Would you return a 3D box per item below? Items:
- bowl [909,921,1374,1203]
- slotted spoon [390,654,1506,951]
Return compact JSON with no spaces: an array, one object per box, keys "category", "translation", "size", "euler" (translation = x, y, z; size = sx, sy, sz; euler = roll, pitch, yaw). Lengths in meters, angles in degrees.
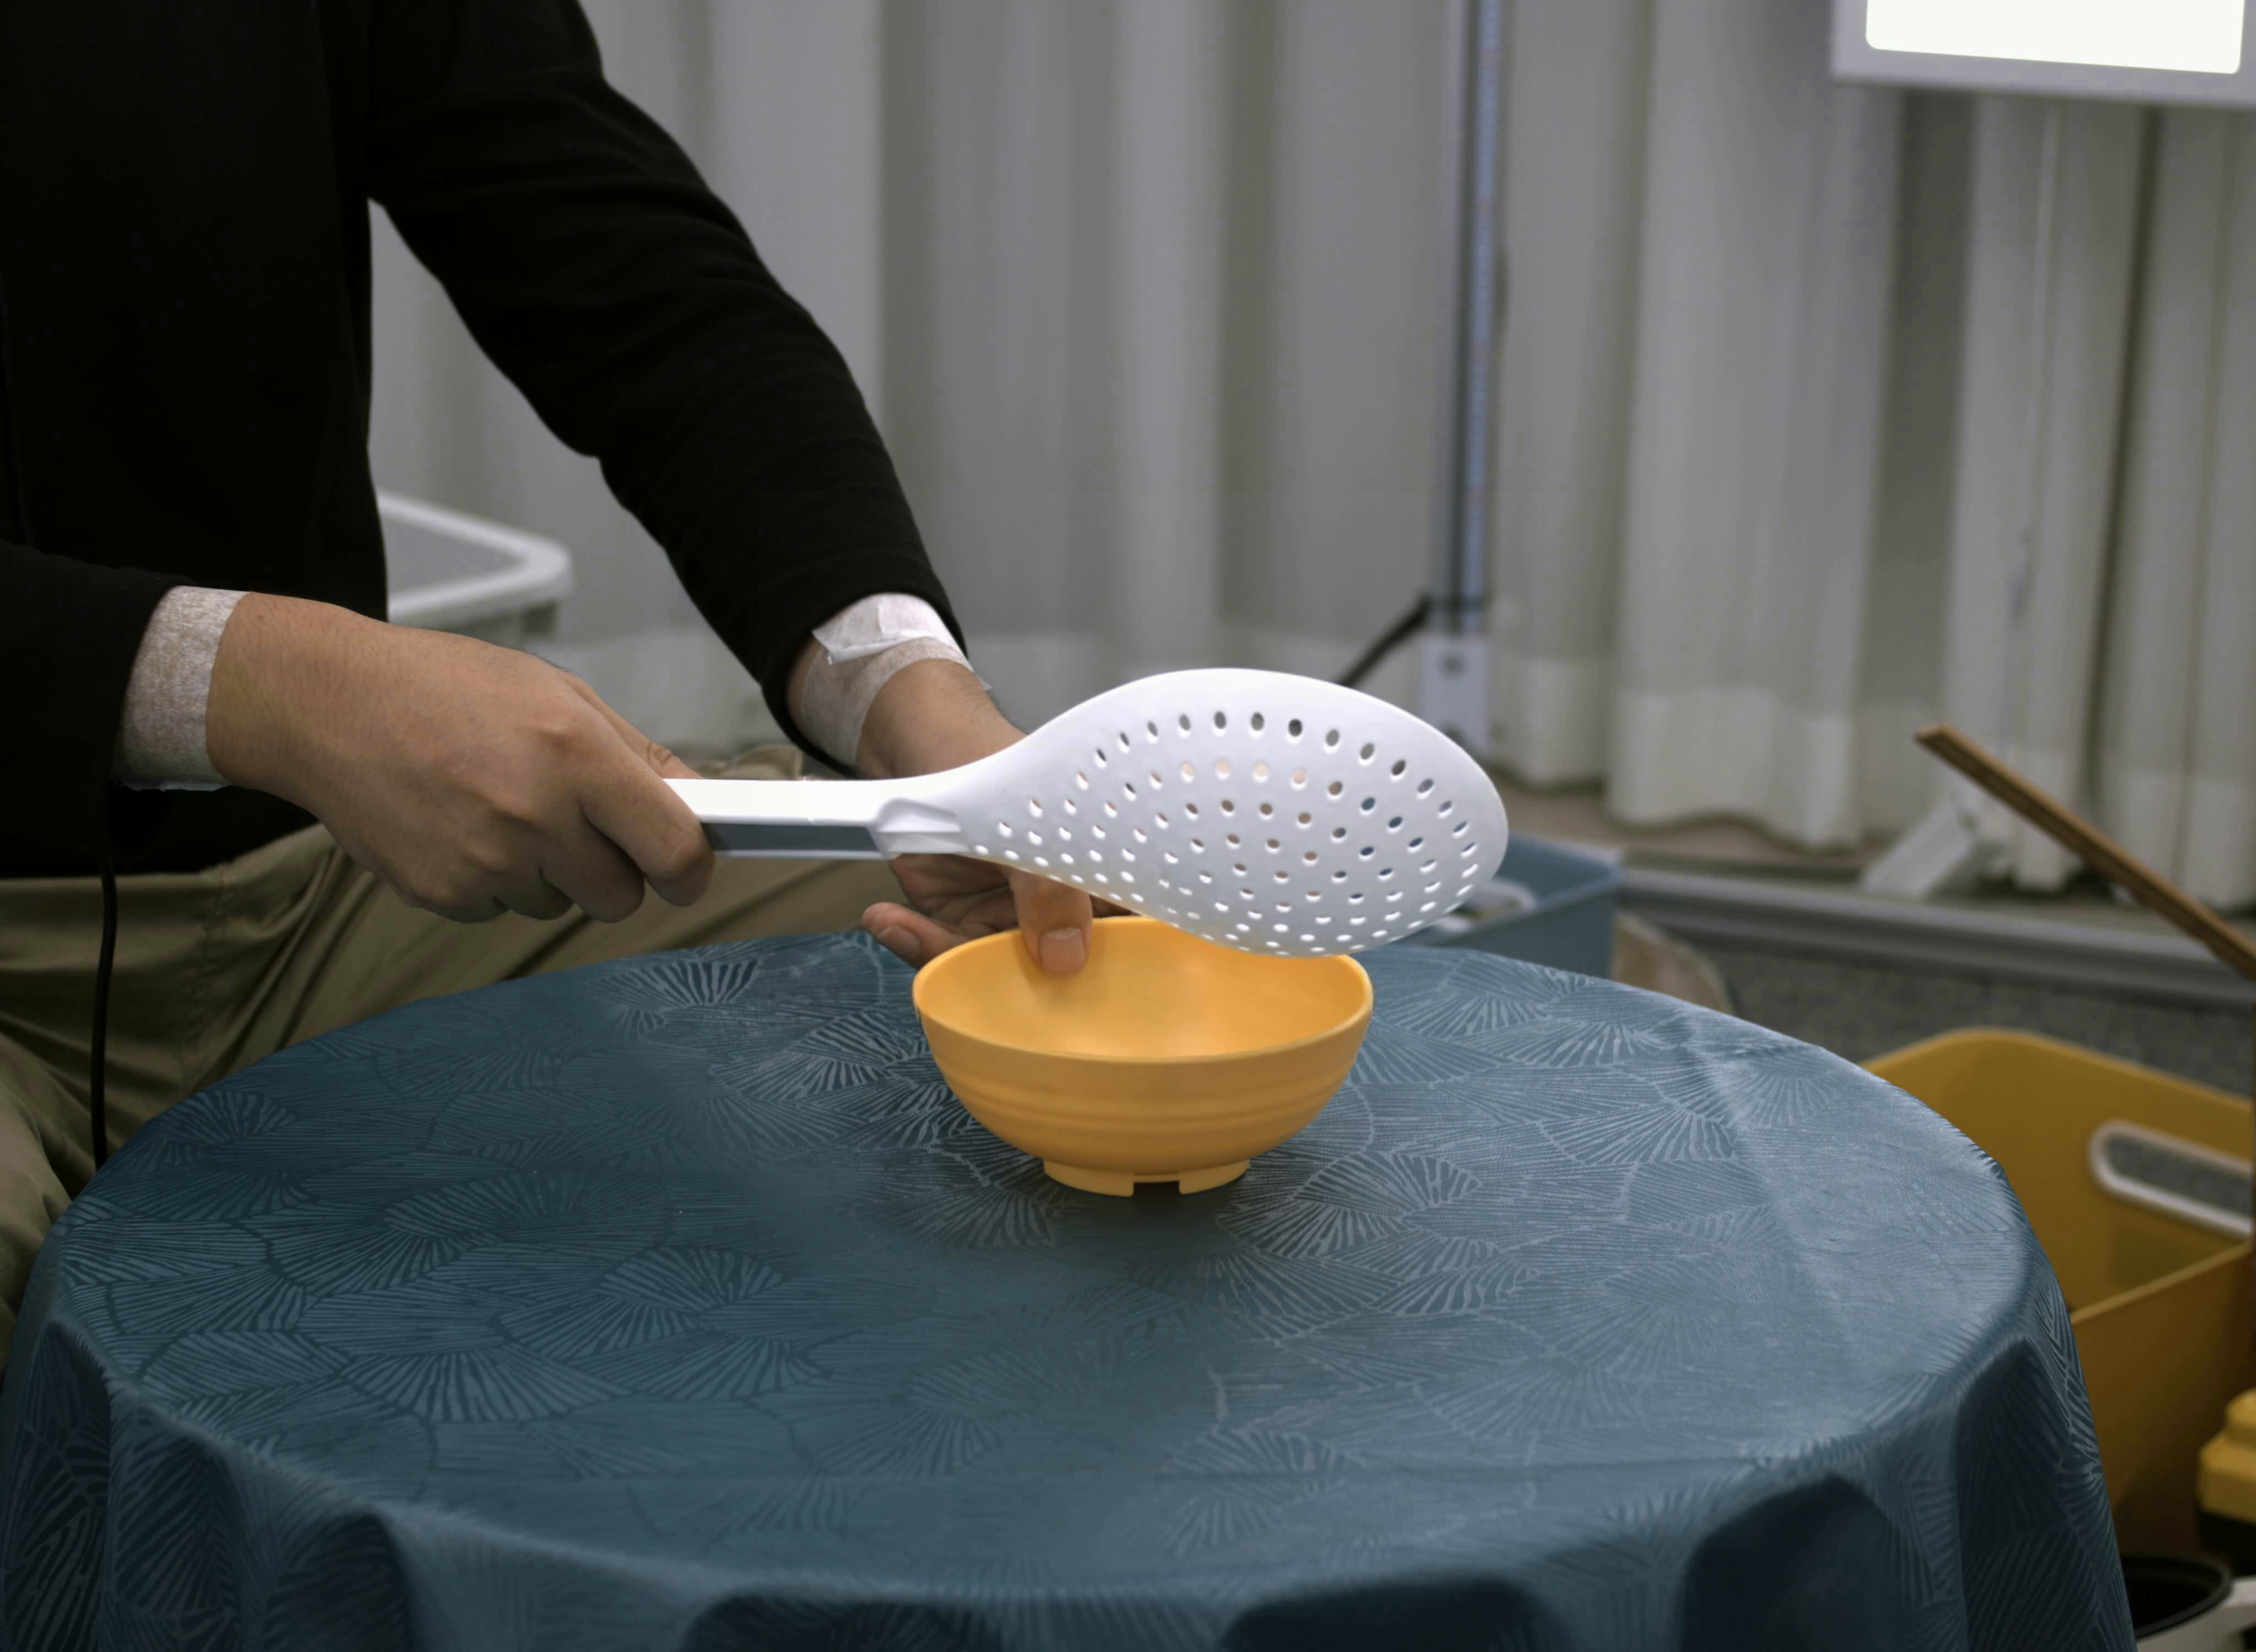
[{"category":"bowl","translation":[0.003,0.078,1.637],"size":[0.145,0.060,0.144],"euler":[2,16,0]},{"category":"slotted spoon","translation":[-0.060,-0.004,1.574],"size":[0.346,0.138,0.045],"euler":[4,58,20]}]
